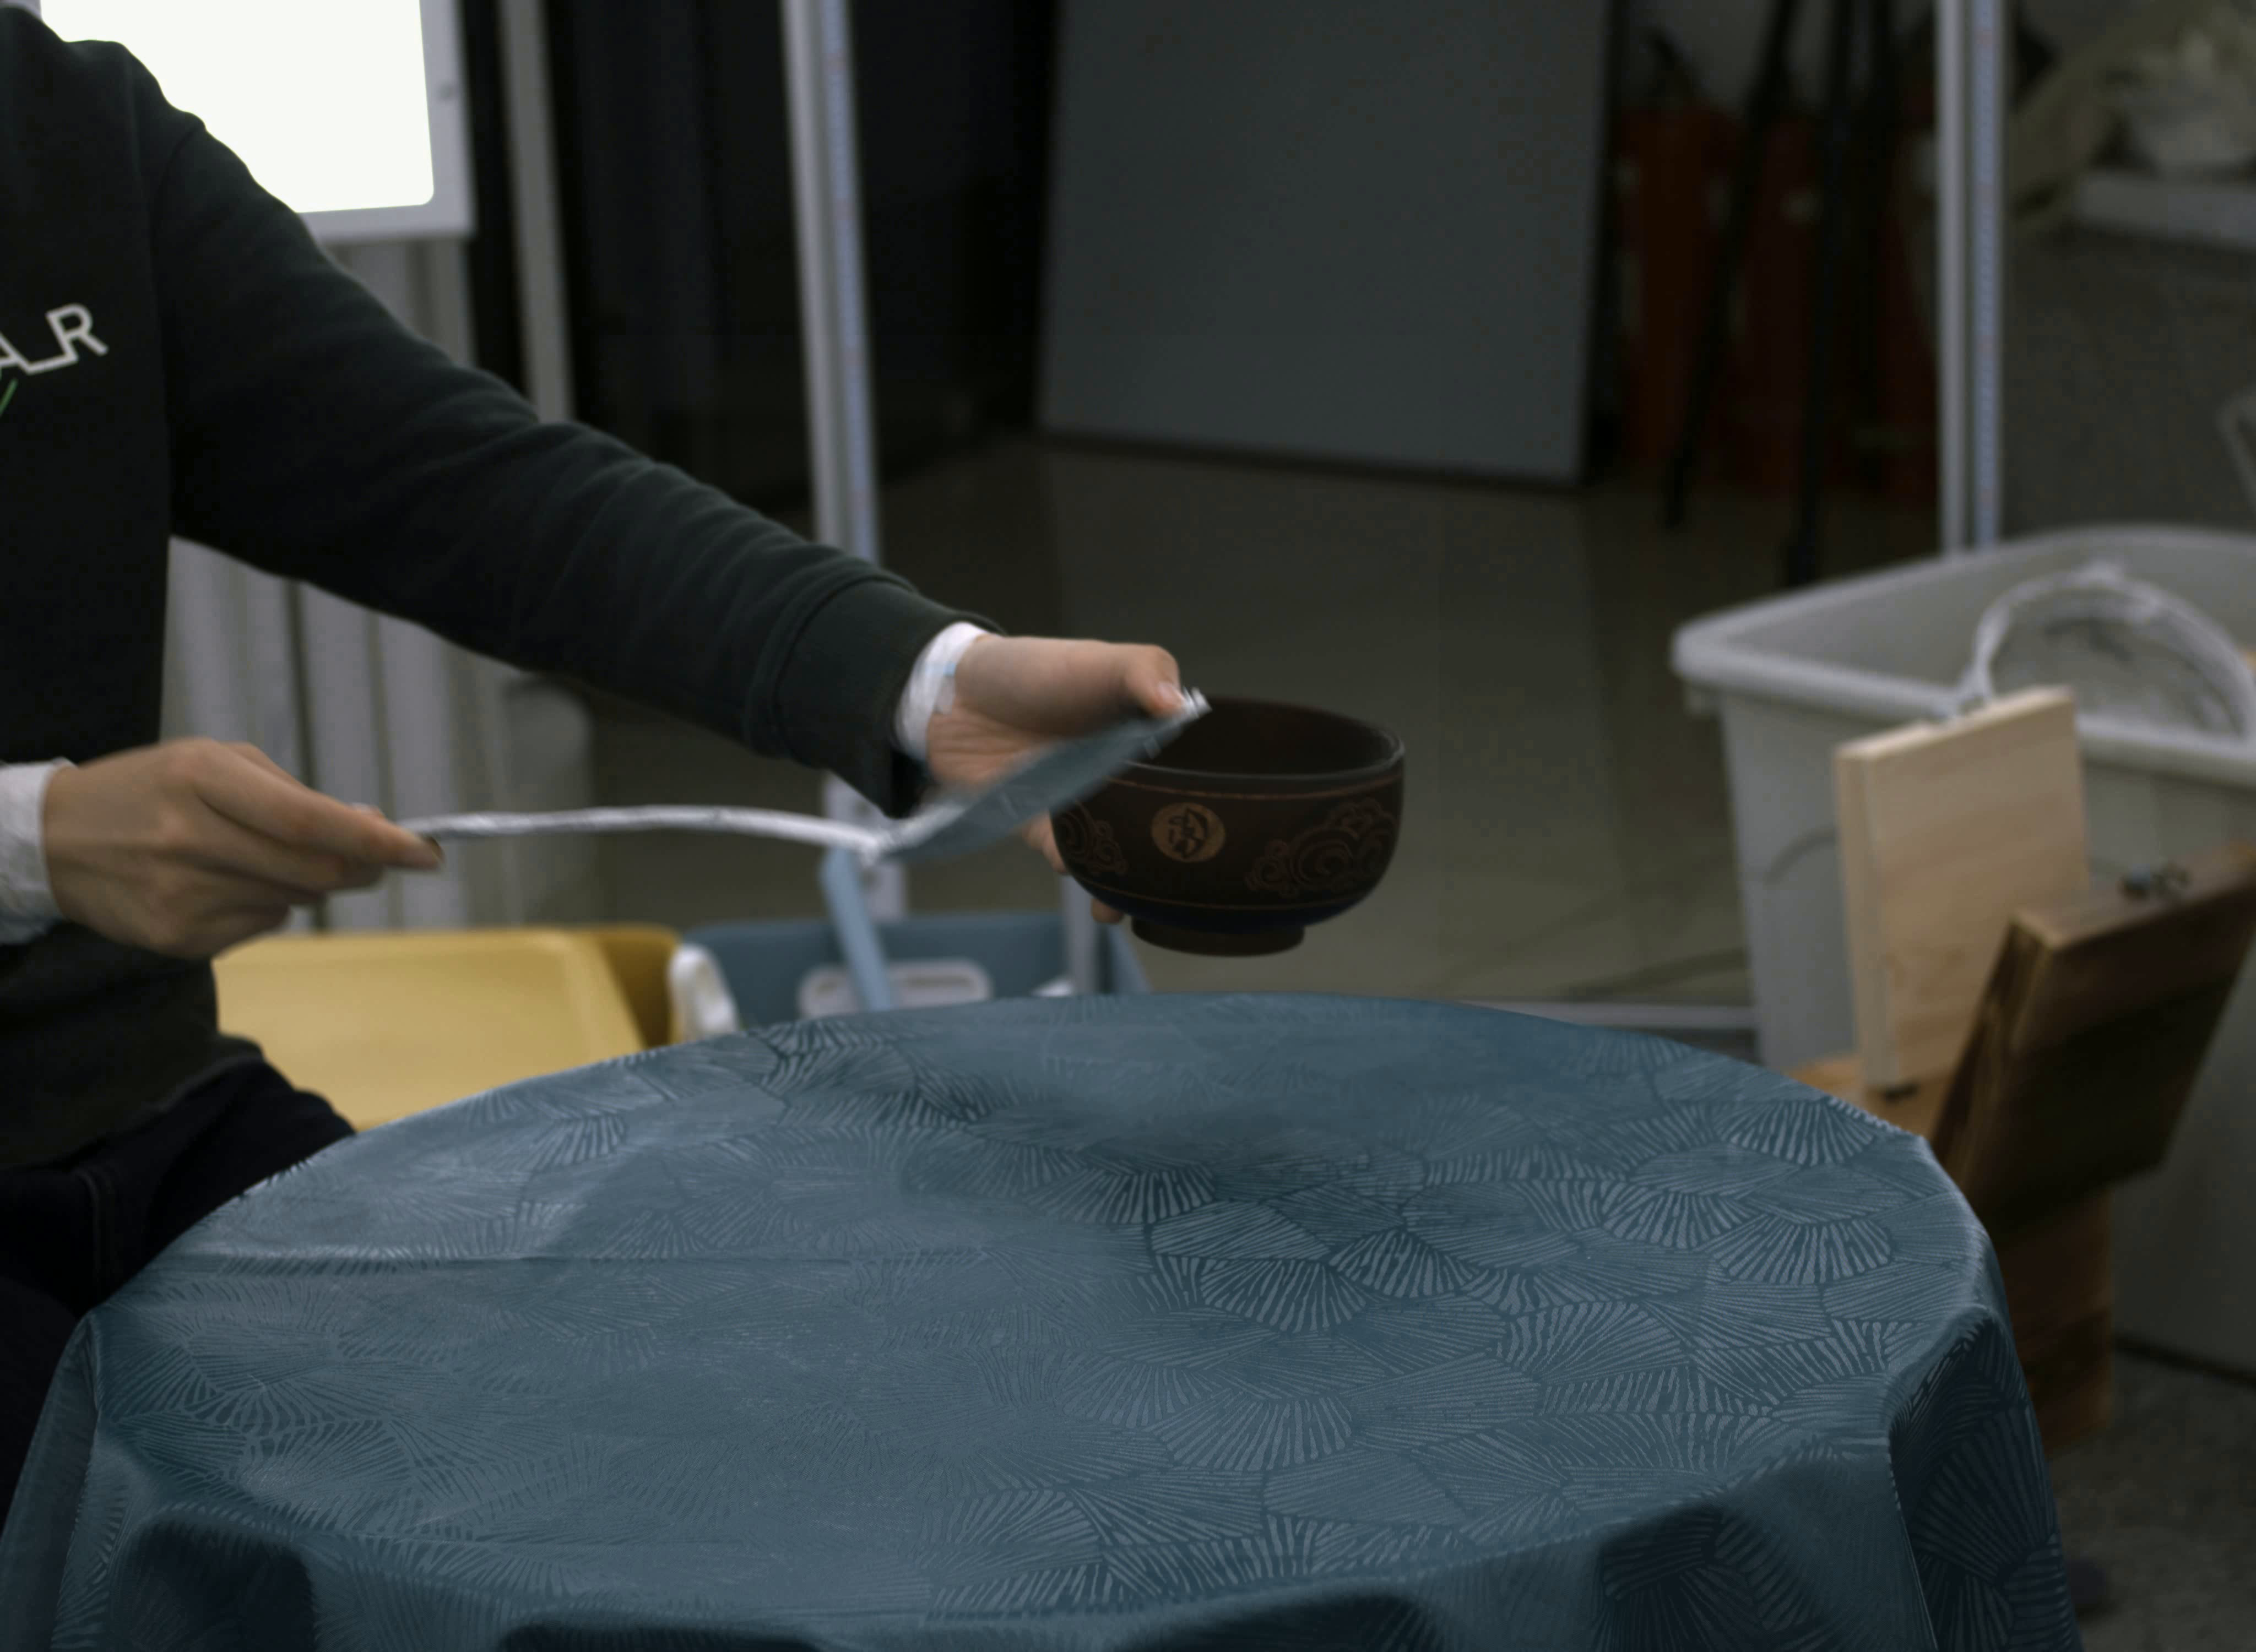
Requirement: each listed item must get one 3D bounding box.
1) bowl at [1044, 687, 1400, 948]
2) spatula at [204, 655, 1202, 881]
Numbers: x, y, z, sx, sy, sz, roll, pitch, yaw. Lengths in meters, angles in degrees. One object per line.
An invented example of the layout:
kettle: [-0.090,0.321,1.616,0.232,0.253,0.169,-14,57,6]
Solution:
bowl: [0.030,0.000,1.765,0.116,0.071,0.118,2,12,-1]
spatula: [-0.145,-0.012,1.624,0.366,0.045,0.097,-4,8,30]
